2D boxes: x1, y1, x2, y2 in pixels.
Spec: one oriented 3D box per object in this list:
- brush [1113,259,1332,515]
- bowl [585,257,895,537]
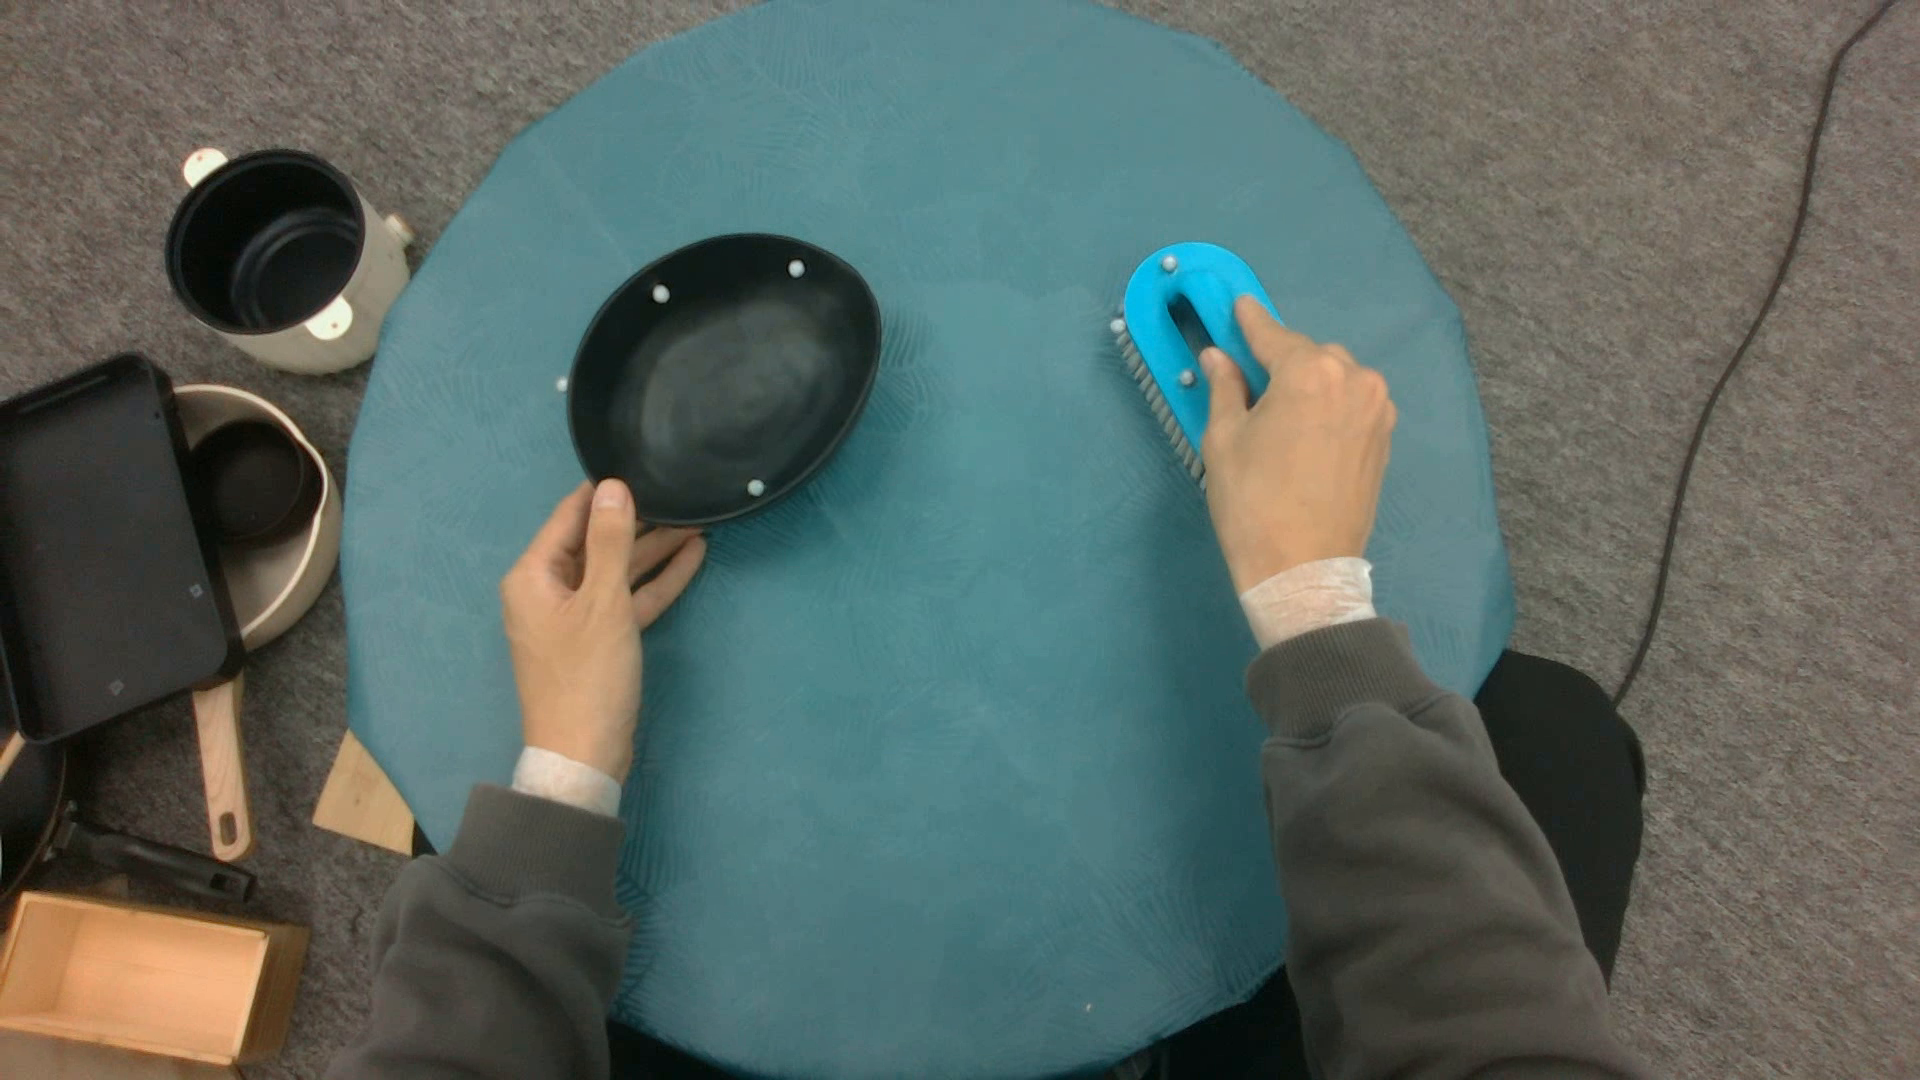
[{"bbox_3d":[0.138,-0.087,0.709,0.084,0.063,0.142,-23,76,-9],"label":"brush"},{"bbox_3d":[-0.109,-0.070,0.716,0.137,0.066,0.170,42,78,12],"label":"bowl"}]
